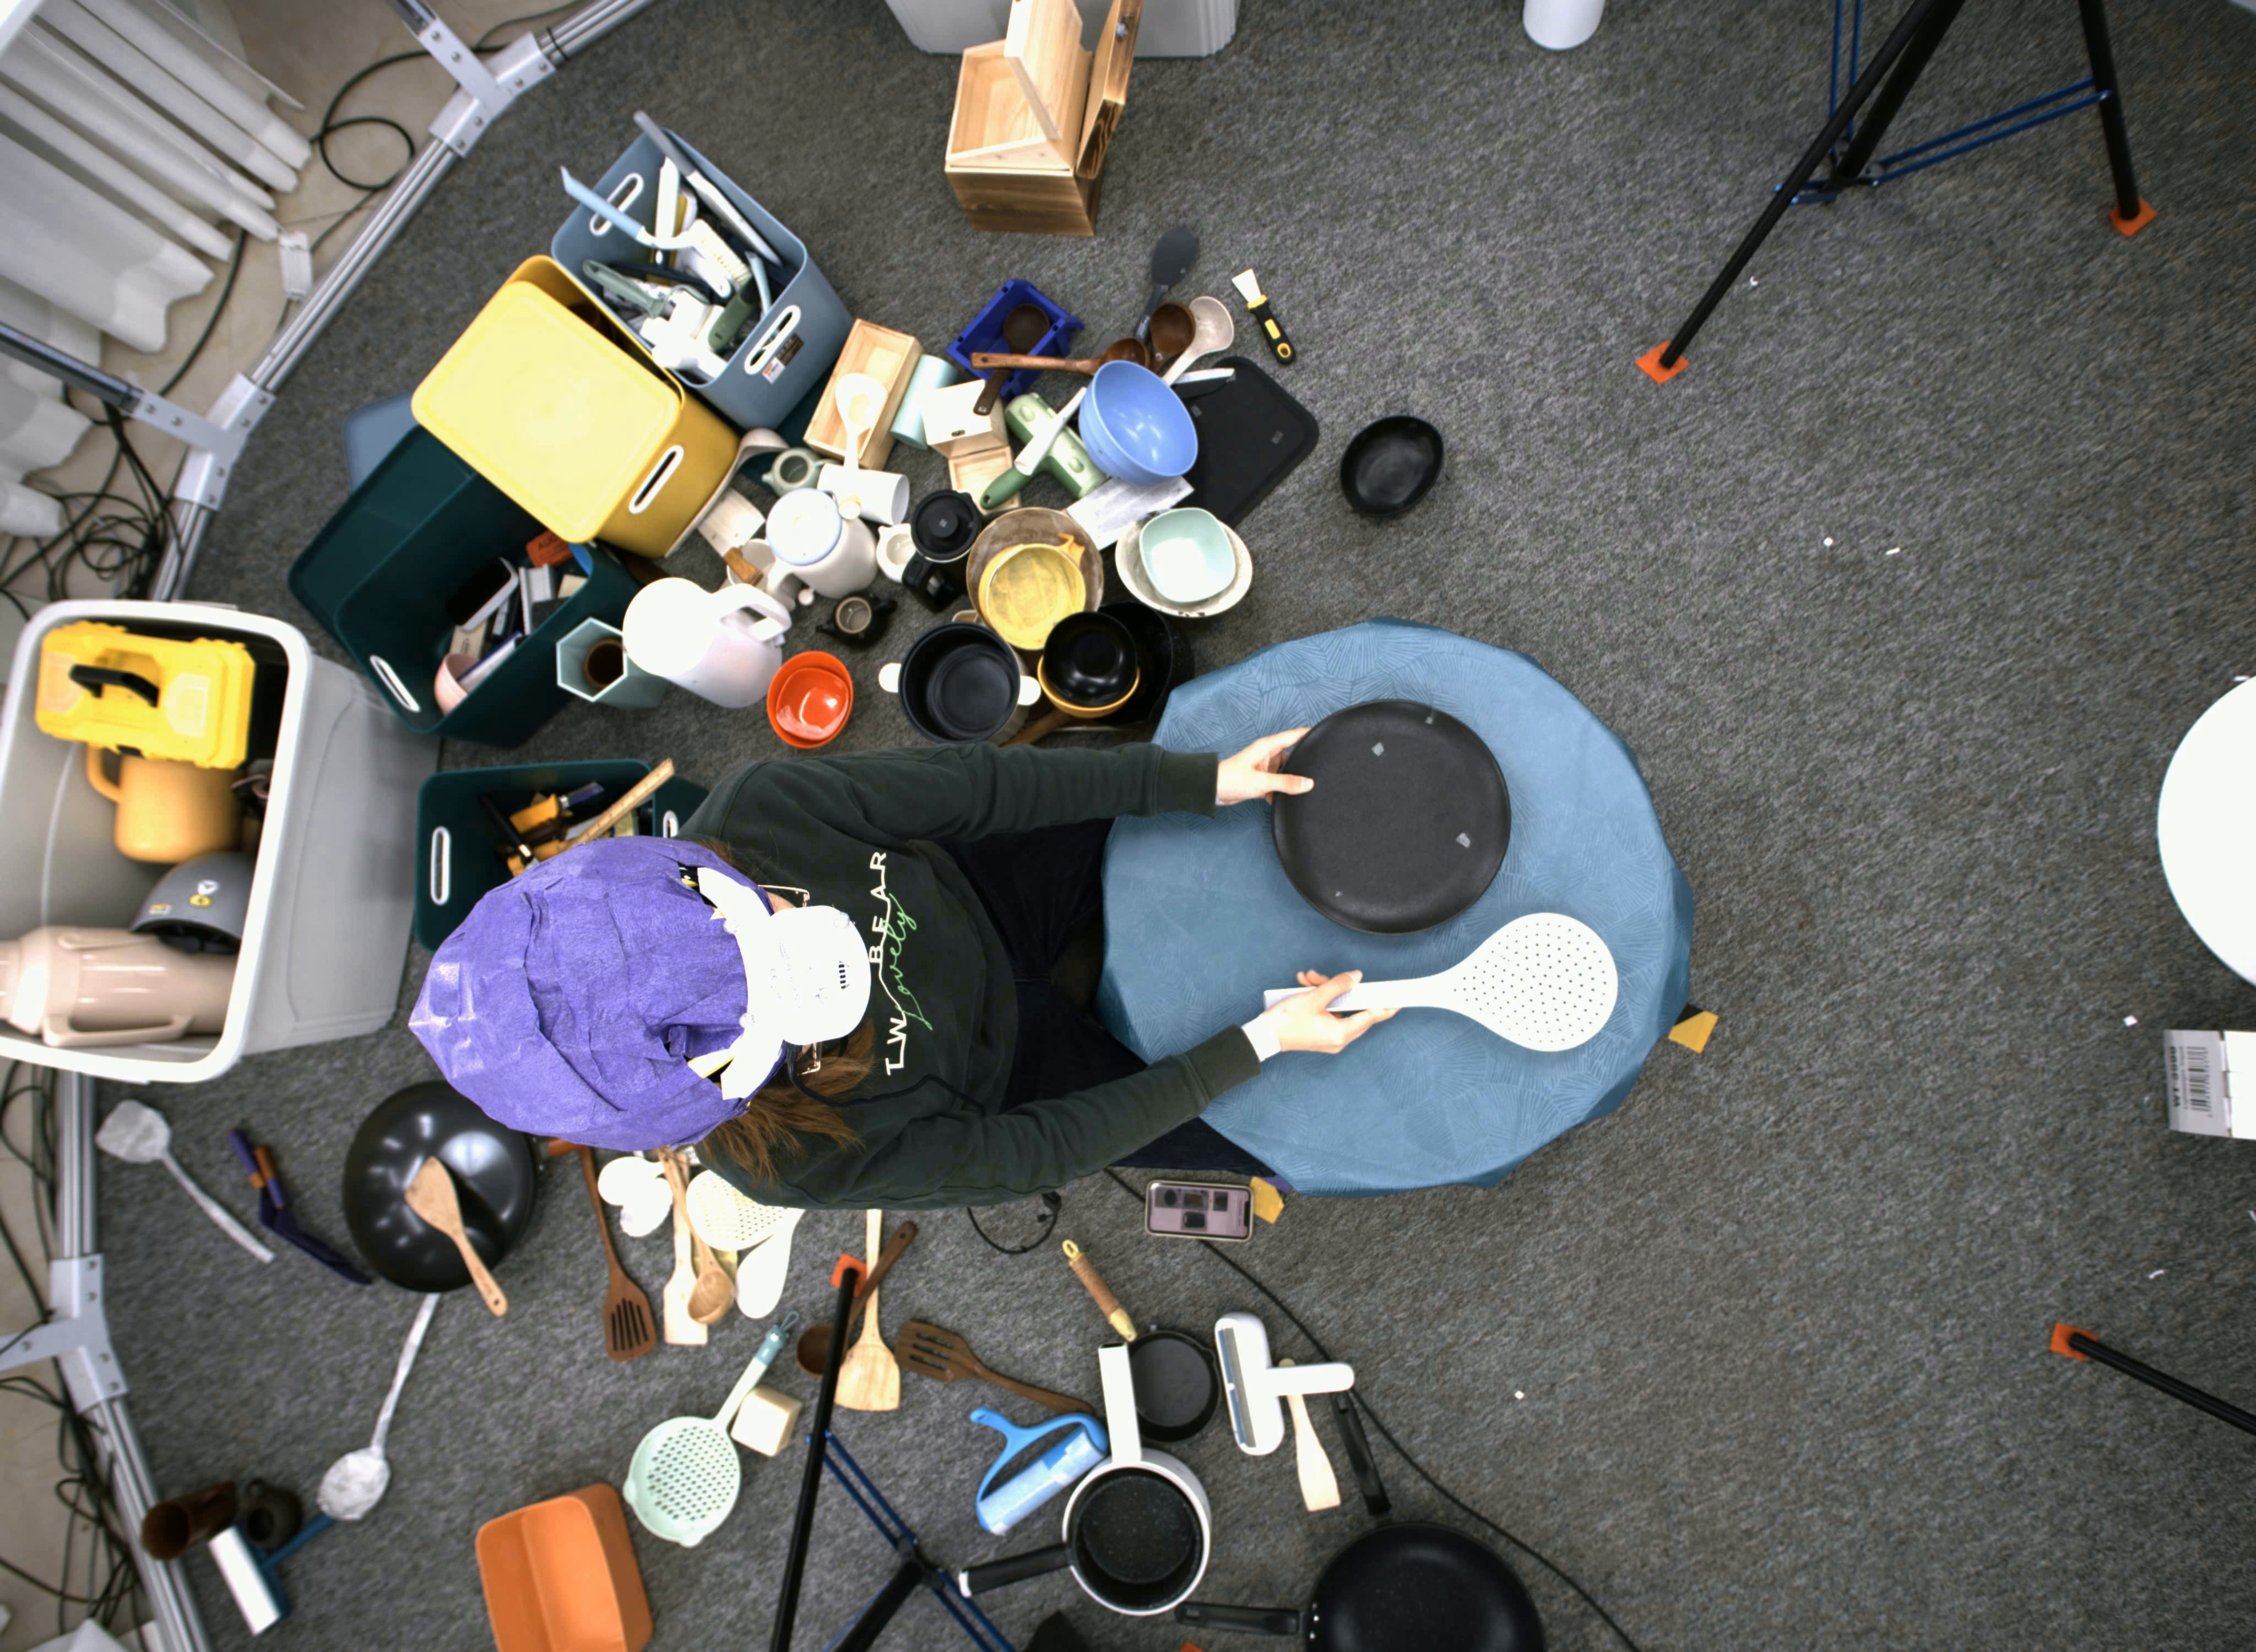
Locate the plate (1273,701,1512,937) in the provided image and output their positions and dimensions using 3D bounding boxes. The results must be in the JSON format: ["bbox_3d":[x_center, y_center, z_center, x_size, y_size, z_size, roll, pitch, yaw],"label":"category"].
[{"bbox_3d":[0.271,-0.008,1.417,0.245,0.023,0.244,0,93,5],"label":"plate"}]

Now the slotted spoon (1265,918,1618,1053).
[{"bbox_3d":[0.315,0.168,1.398,0.350,0.046,0.135,-4,81,2],"label":"slotted spoon"}]
